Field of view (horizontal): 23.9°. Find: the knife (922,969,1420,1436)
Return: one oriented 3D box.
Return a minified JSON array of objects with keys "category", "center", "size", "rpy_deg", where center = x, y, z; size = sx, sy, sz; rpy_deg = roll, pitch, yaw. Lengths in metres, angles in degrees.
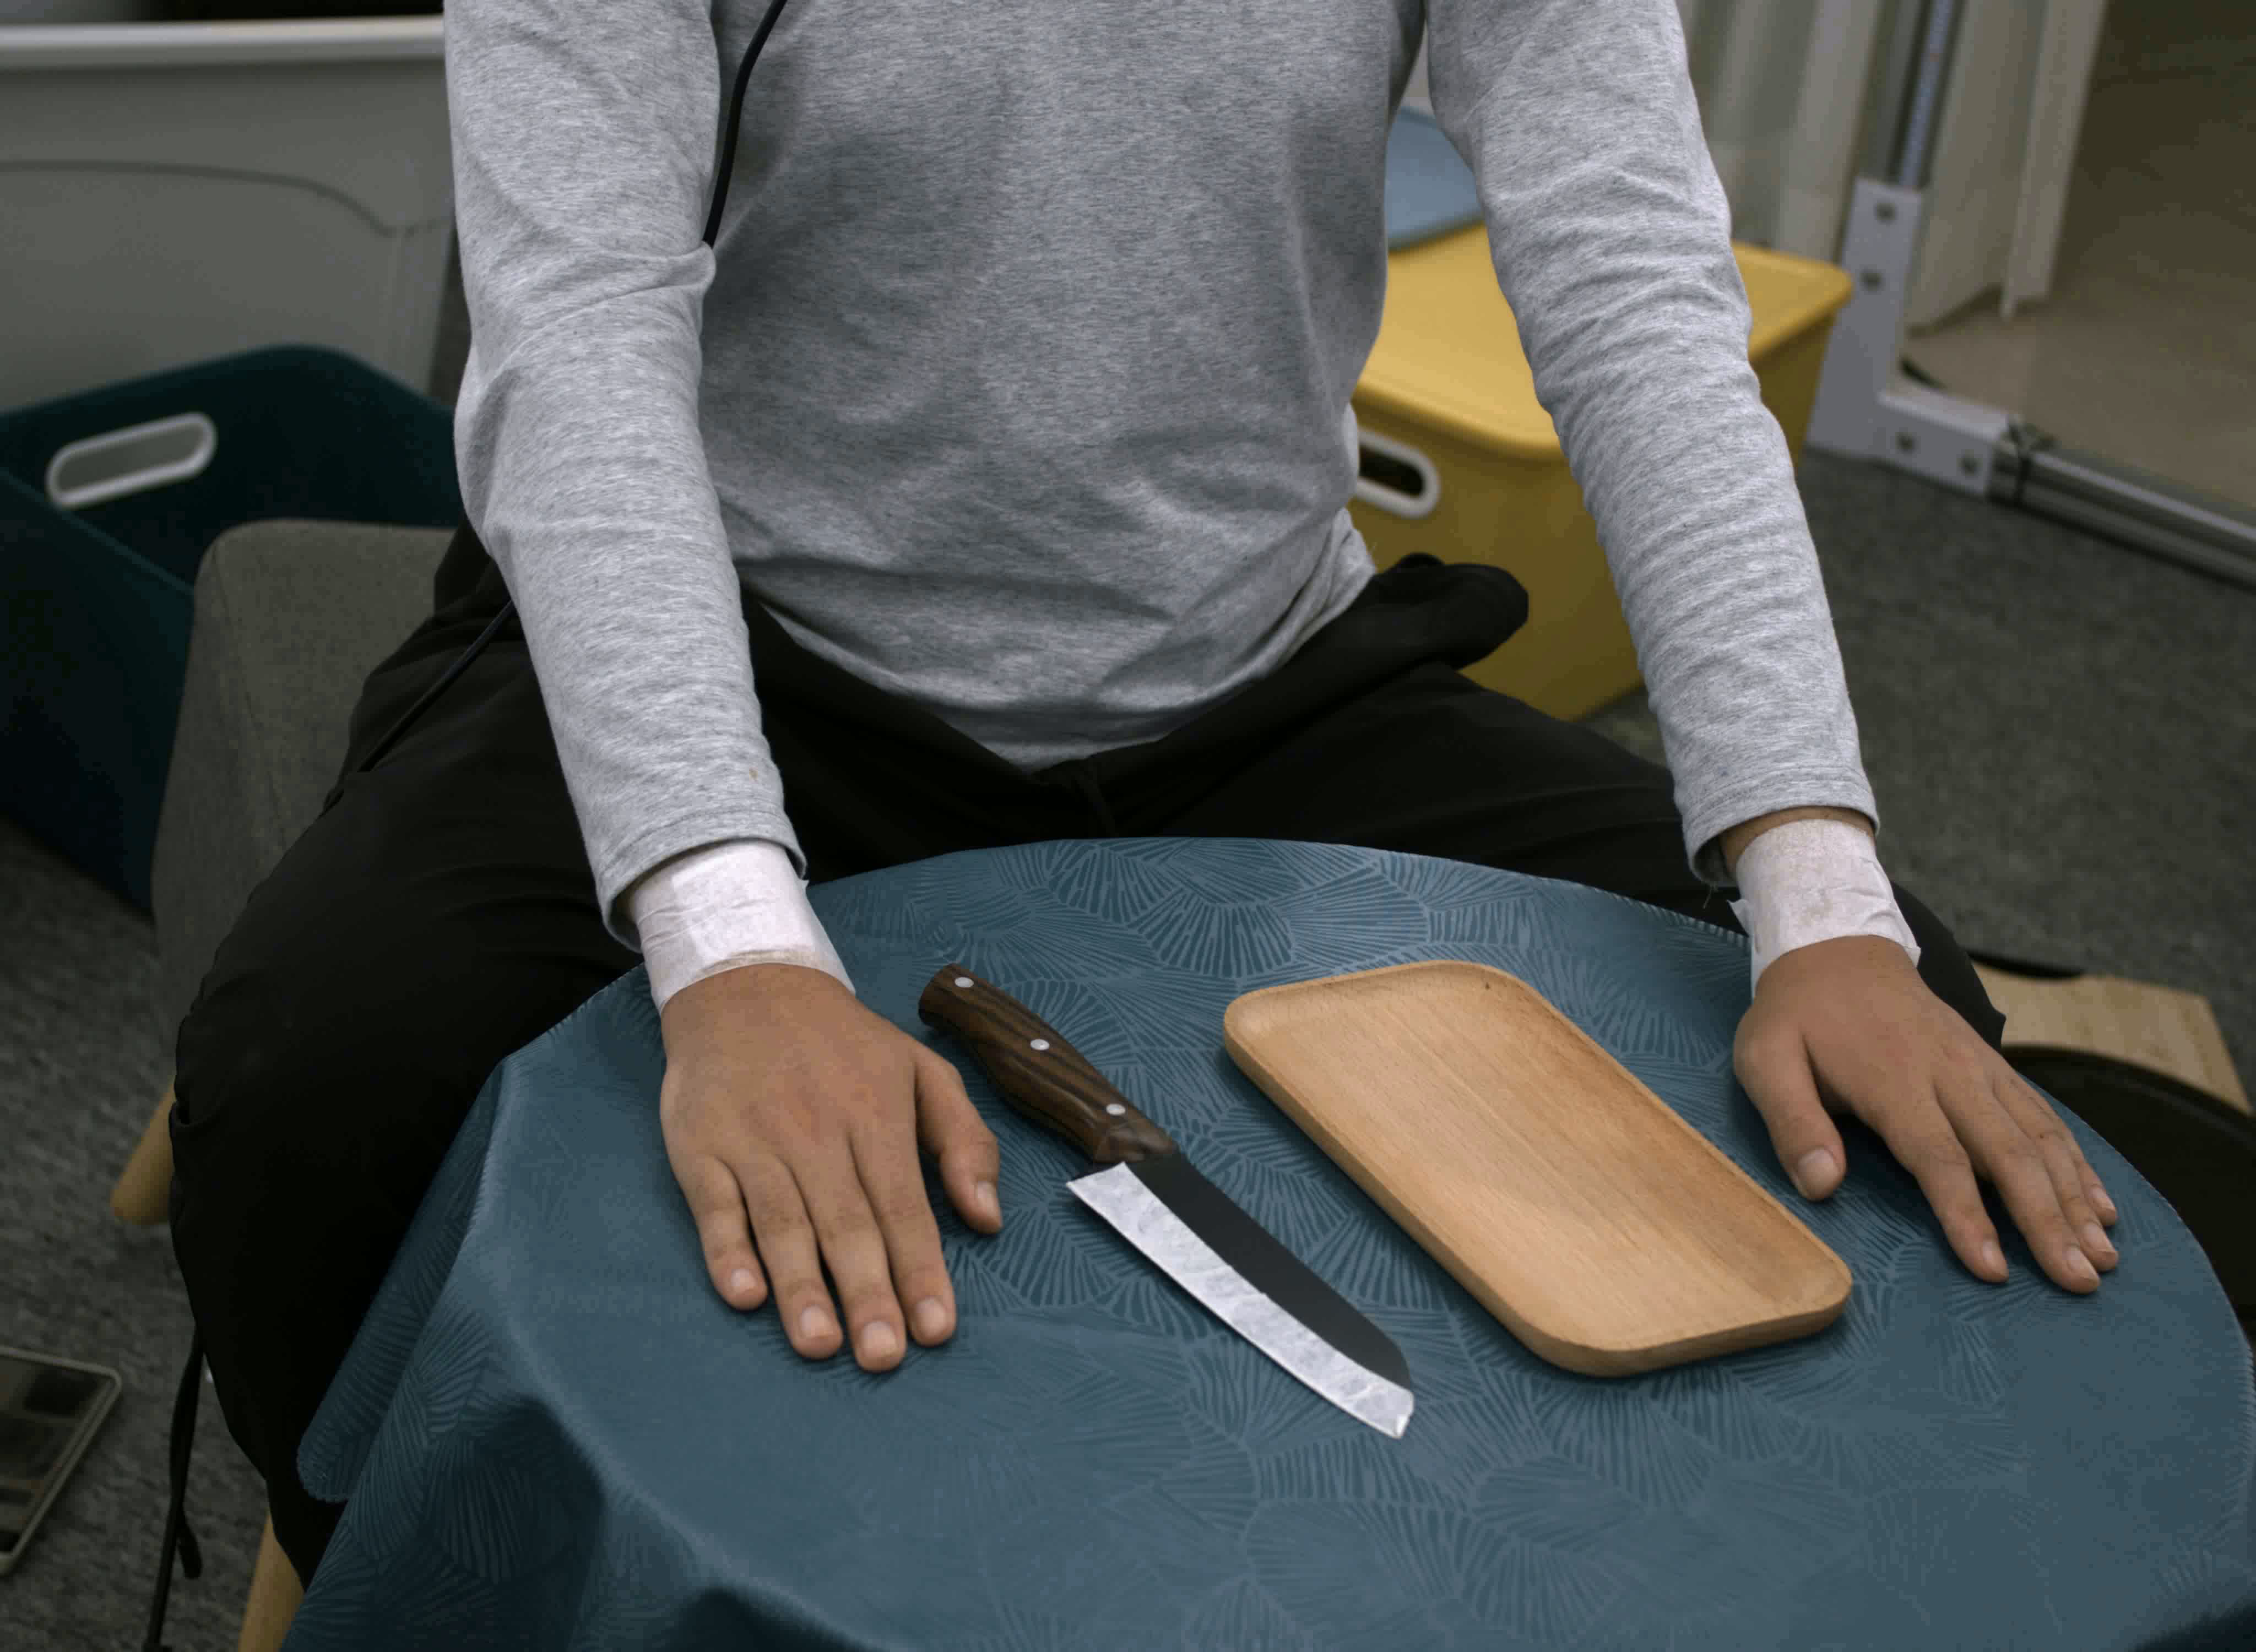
[{"category":"knife","center":[0.011,0.125,1.789],"size":[0.050,0.020,0.292],"rpy_deg":[-16,37,-28]}]

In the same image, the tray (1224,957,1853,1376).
[{"category":"tray","center":[0.138,0.115,1.838],"size":[0.129,0.023,0.253],"rpy_deg":[-6,28,-28]}]
